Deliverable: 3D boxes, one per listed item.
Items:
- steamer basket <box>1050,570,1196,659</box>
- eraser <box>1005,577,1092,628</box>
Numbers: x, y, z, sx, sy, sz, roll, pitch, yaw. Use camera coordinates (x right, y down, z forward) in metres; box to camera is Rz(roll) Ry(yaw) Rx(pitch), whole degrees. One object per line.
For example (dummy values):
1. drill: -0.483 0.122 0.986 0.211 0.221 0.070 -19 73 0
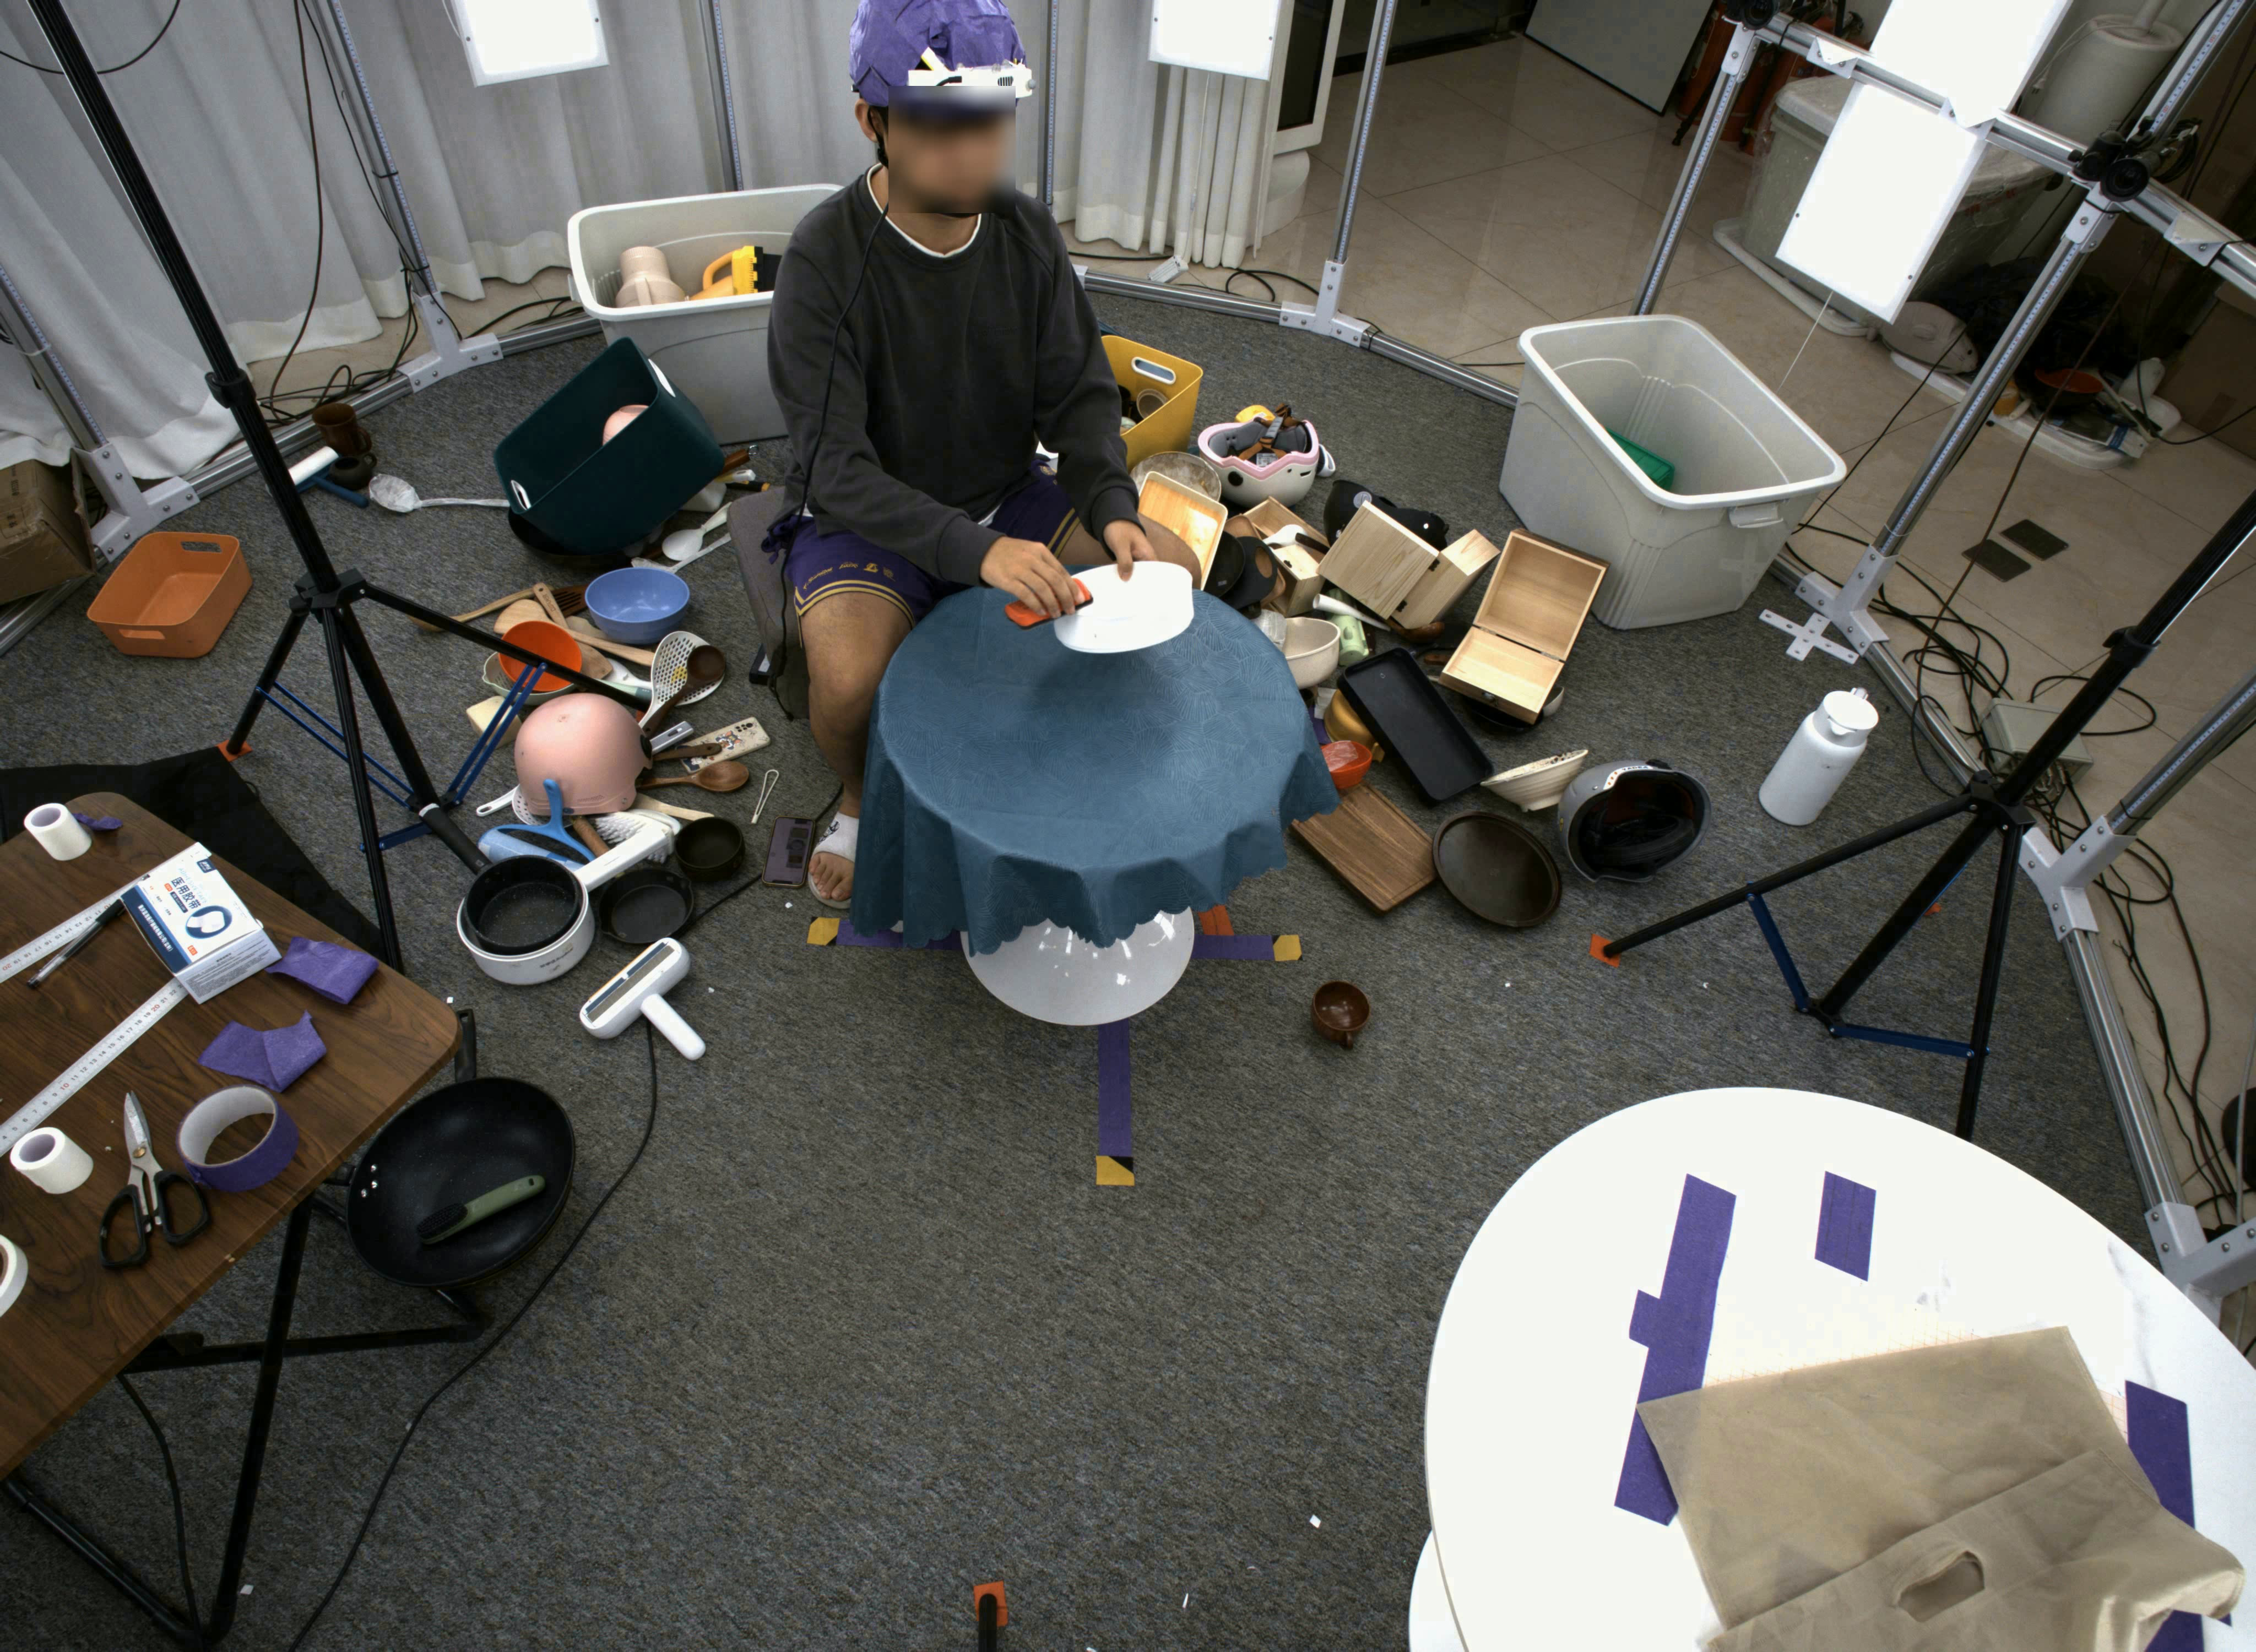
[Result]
1. steamer basket: -0.006 -0.291 1.768 0.202 0.068 0.235 -11 24 5
2. eraser: -0.105 -0.295 1.693 0.108 0.022 0.060 -27 28 -16
